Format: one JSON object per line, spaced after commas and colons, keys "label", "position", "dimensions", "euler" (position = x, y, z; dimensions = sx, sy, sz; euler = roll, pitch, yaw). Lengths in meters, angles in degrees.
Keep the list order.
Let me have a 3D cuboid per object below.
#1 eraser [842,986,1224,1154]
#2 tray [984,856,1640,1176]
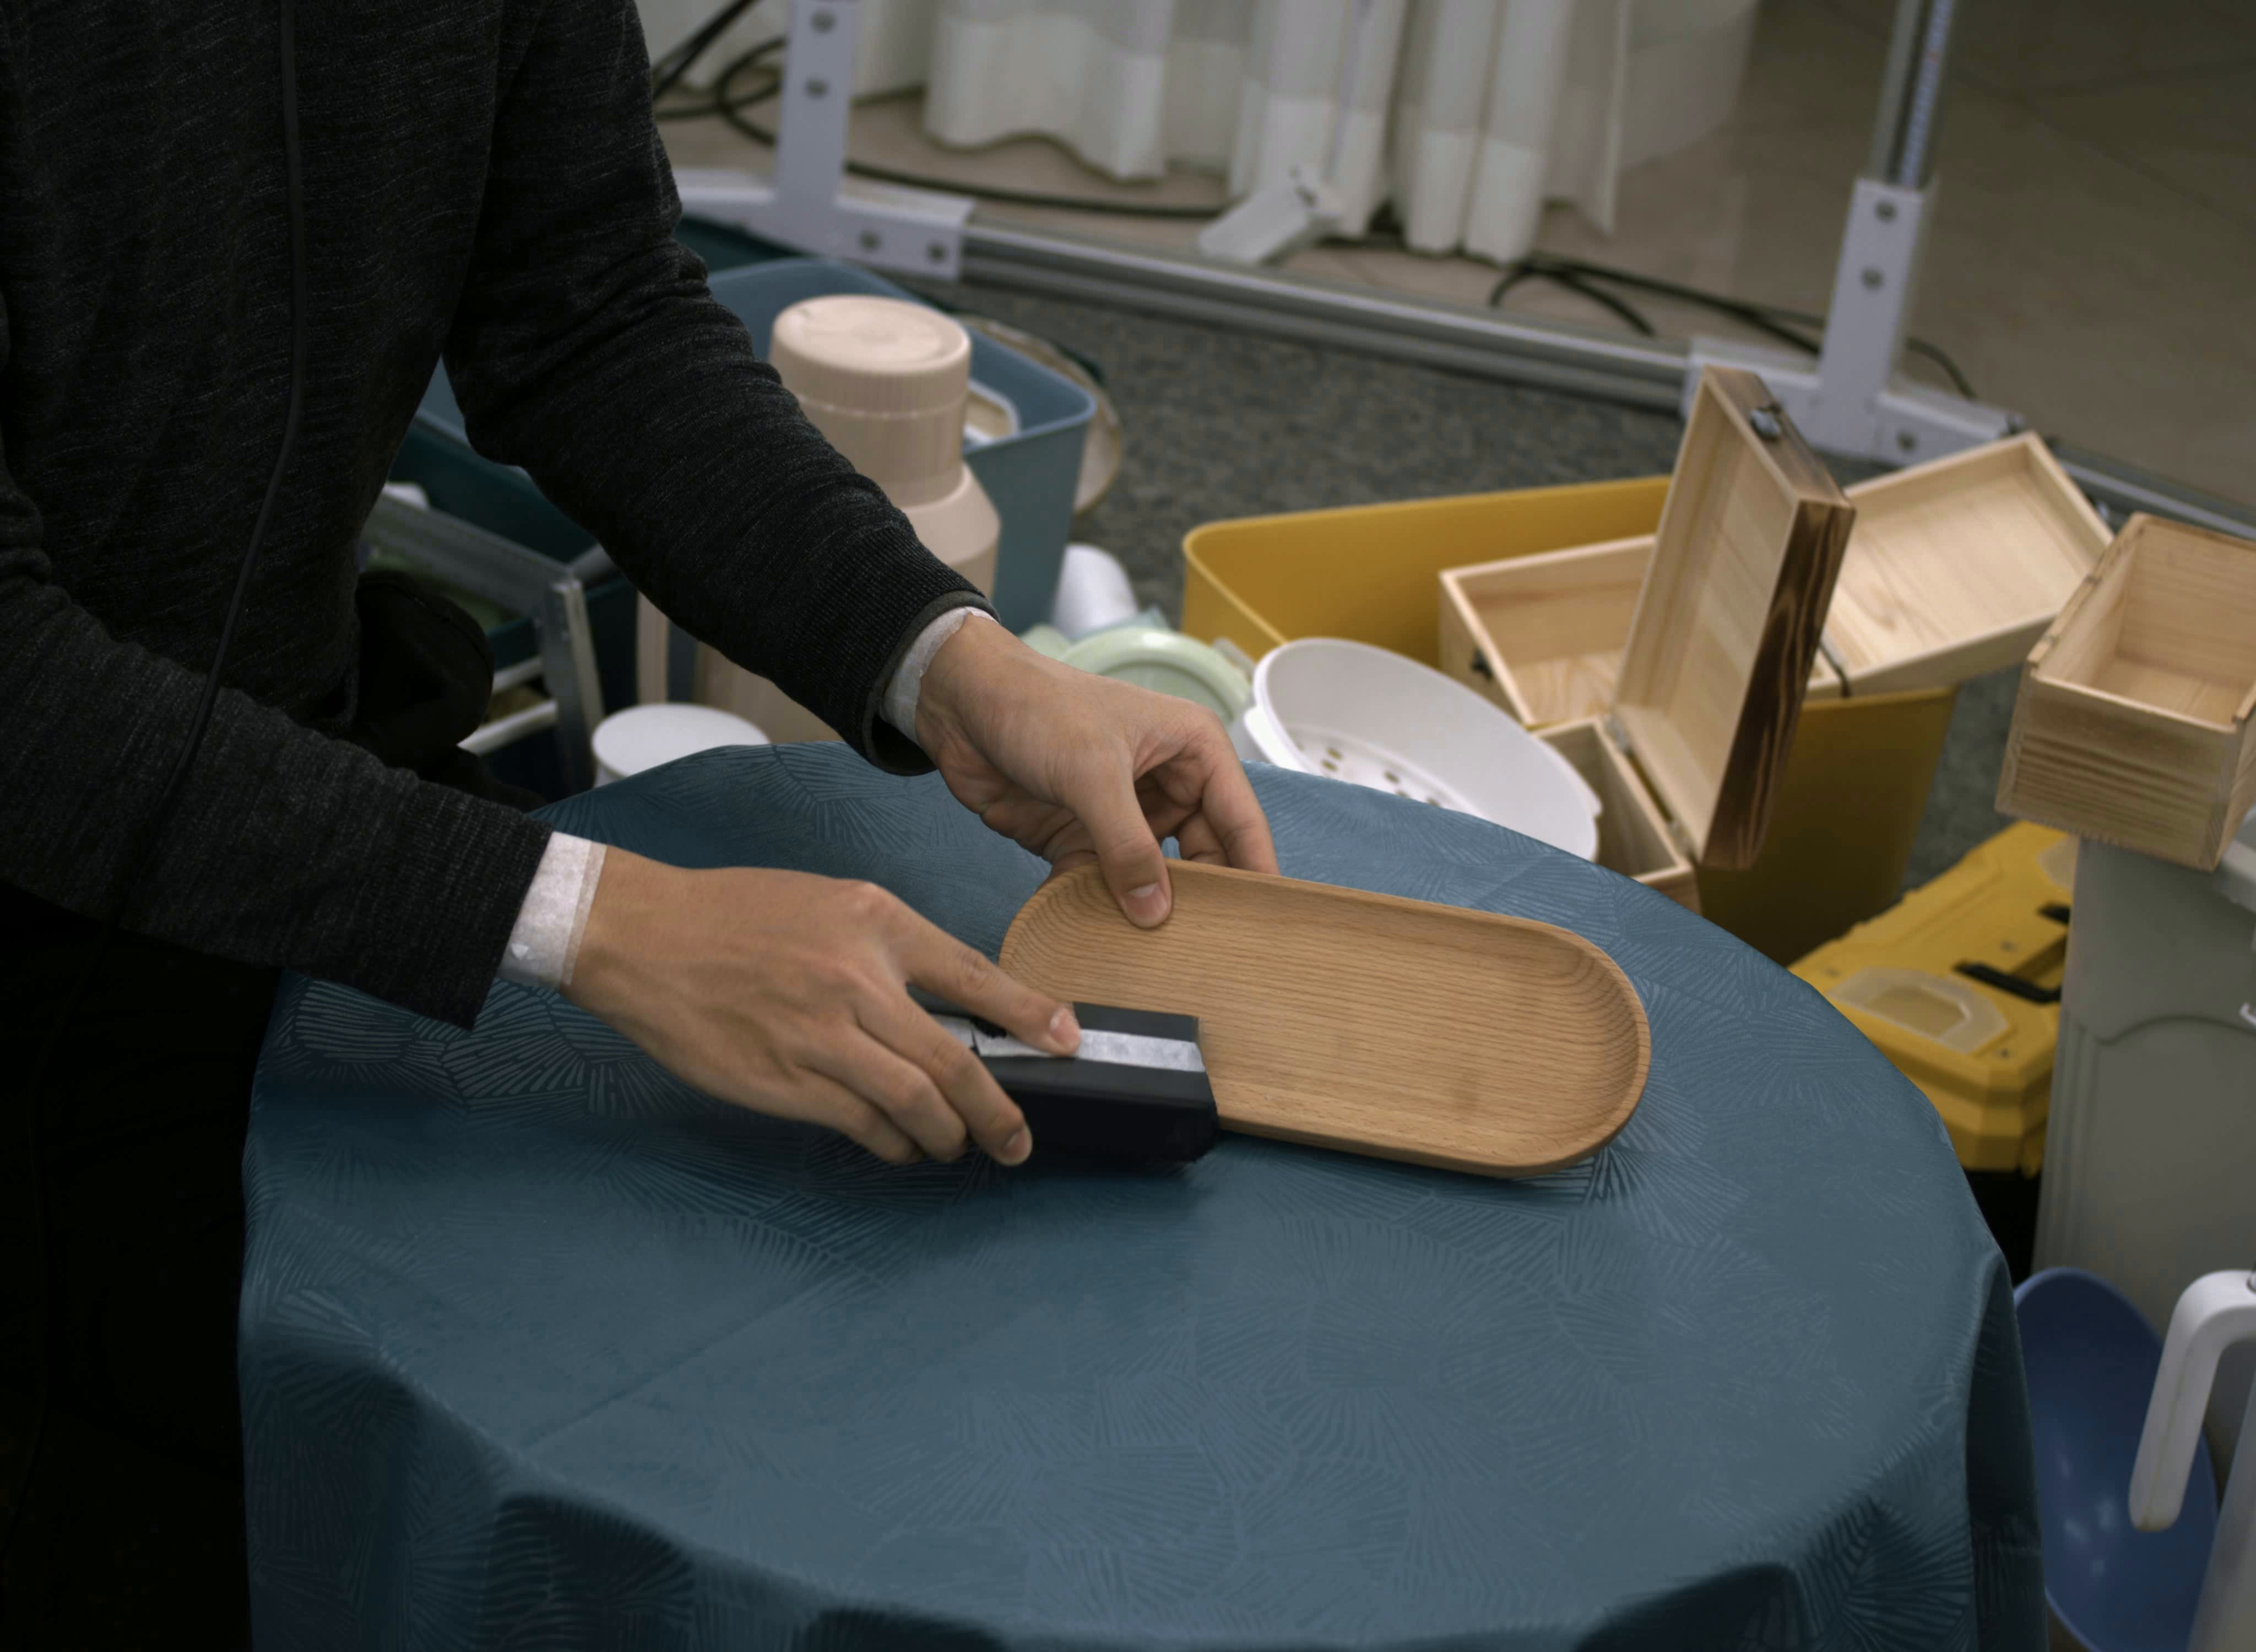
{"label": "eraser", "position": [-0.033, 0.083, 1.809], "dimensions": [0.125, 0.030, 0.054], "euler": [5, 34, -15]}
{"label": "tray", "position": [0.064, 0.067, 1.862], "dimensions": [0.231, 0.020, 0.102], "euler": [8, 56, 7]}
